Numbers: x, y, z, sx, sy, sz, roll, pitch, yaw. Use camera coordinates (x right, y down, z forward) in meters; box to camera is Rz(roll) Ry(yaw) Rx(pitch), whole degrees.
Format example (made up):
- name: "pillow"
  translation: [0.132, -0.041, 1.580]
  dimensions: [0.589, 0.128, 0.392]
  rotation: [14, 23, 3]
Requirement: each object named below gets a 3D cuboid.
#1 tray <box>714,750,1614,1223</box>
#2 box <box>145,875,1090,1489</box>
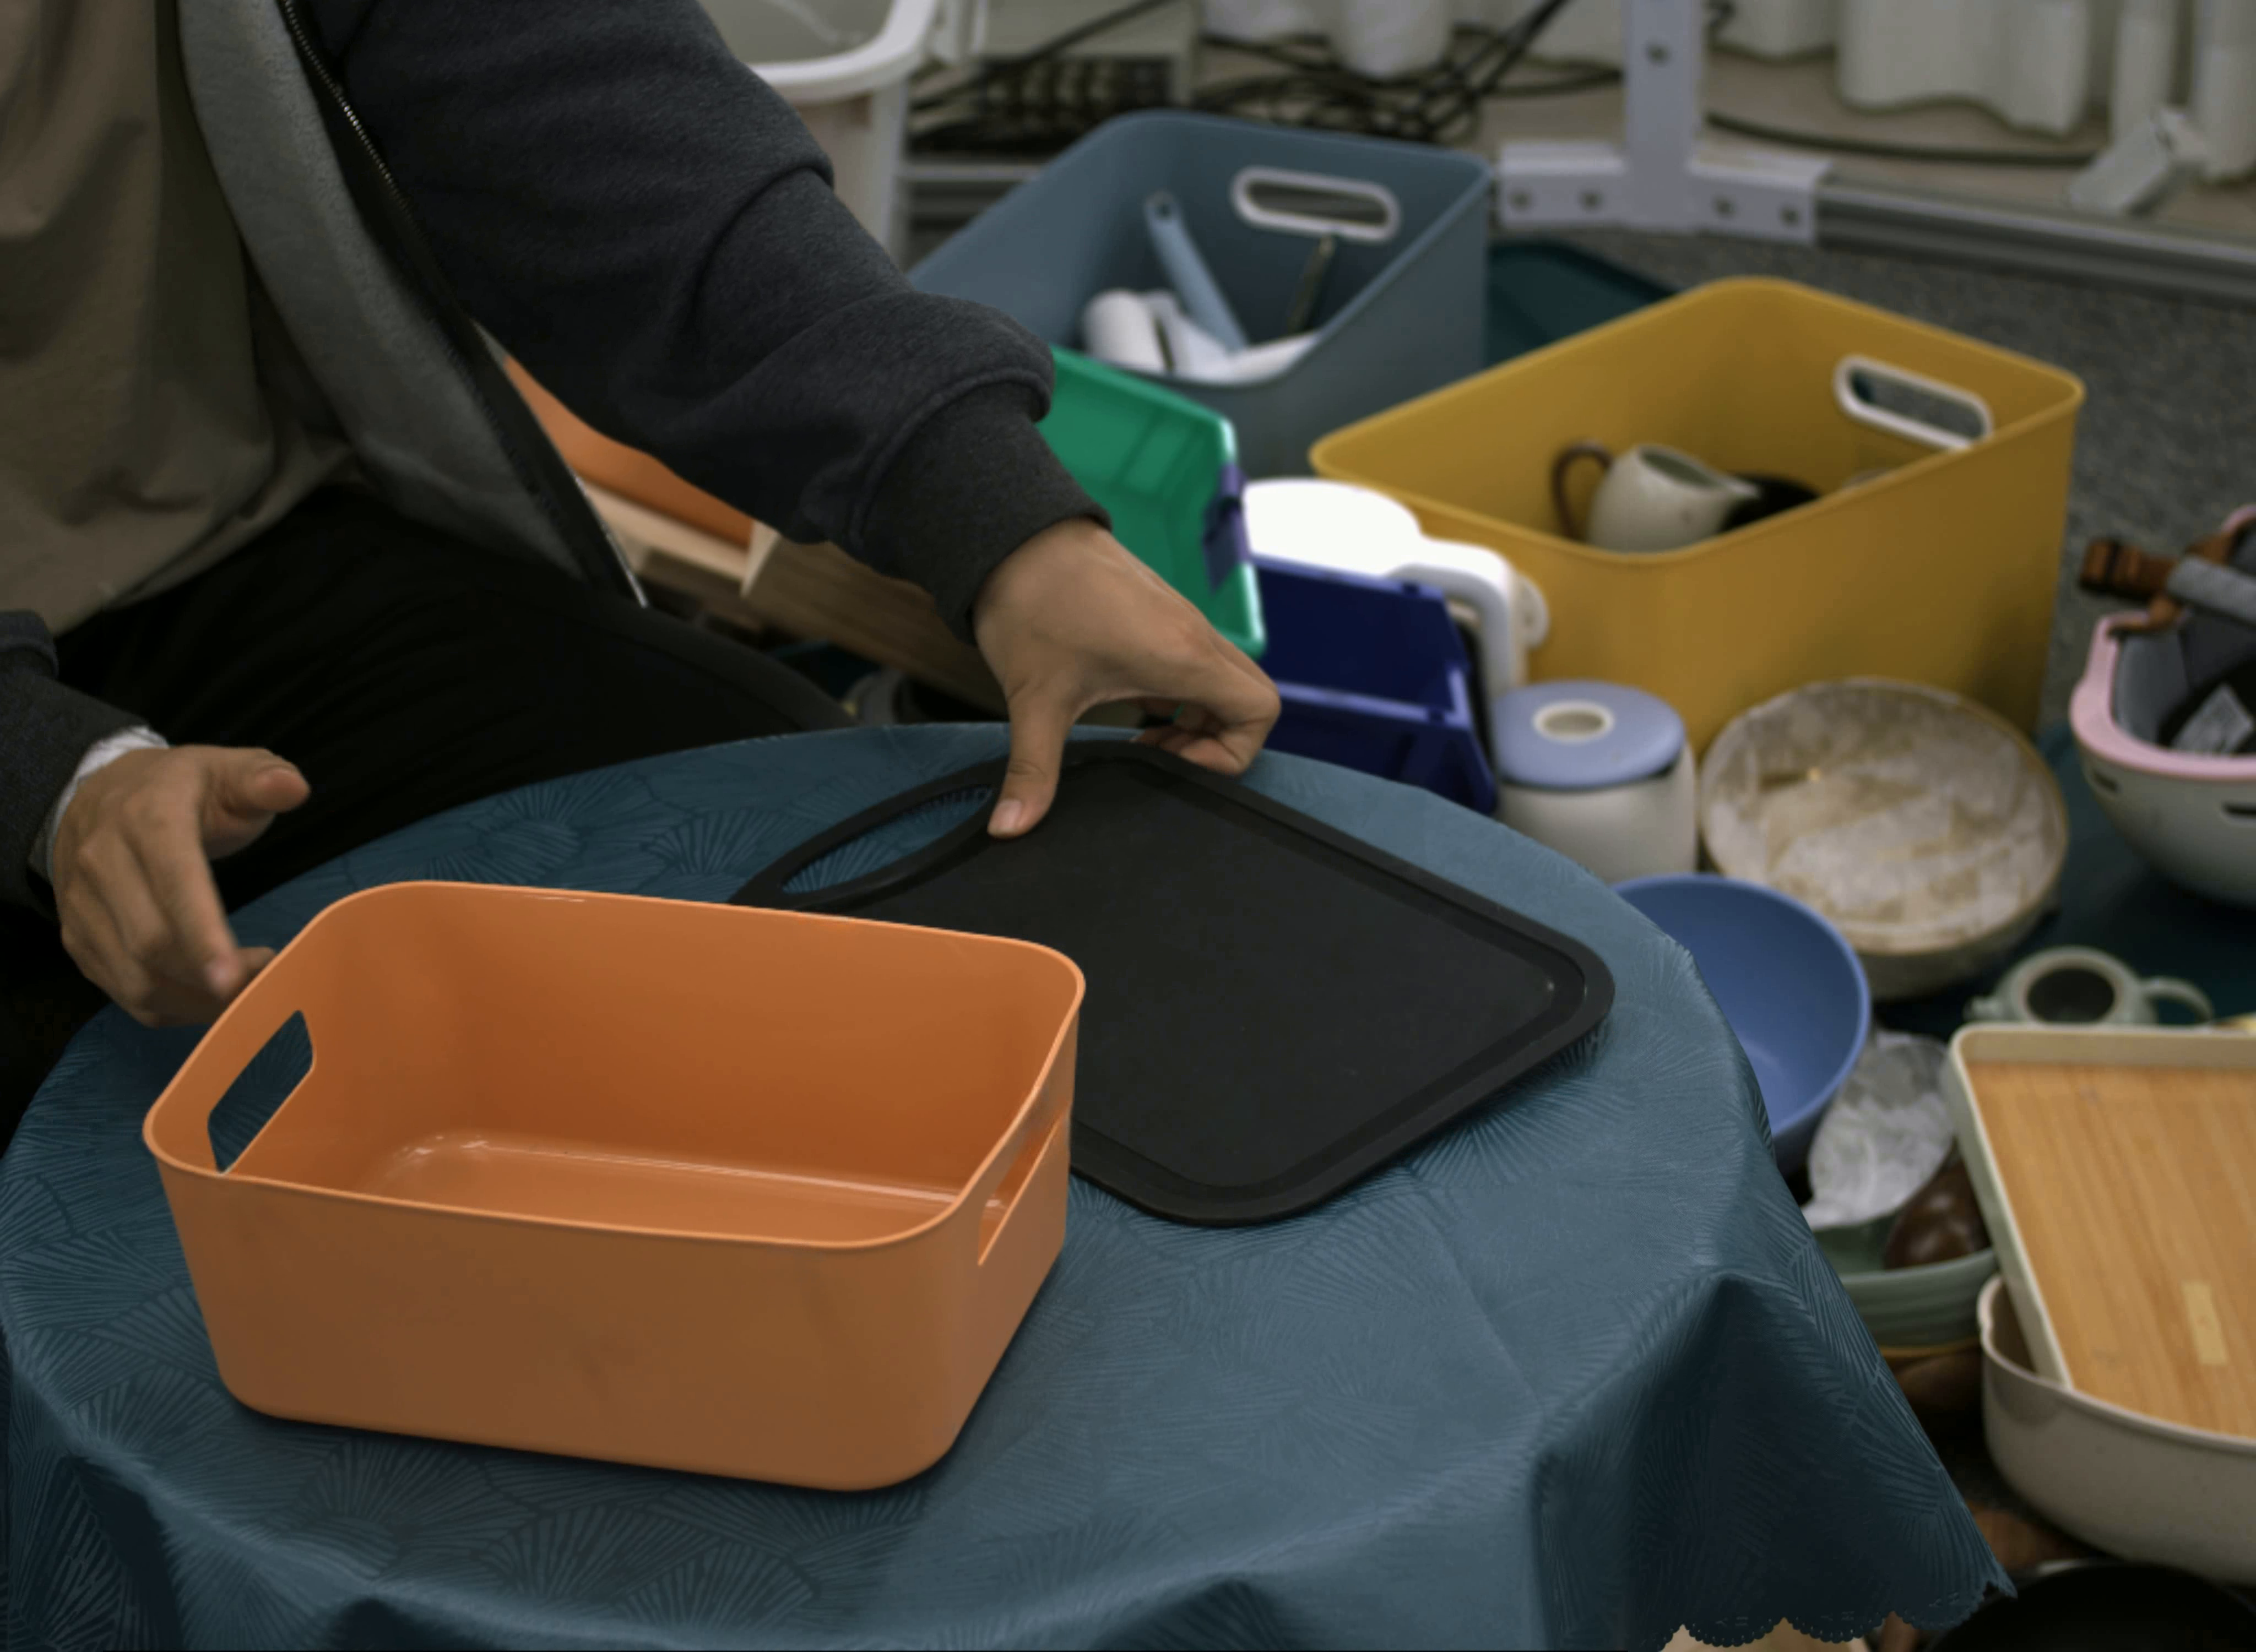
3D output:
- name: "tray"
  translation: [0.001, 0.048, 1.988]
  dimensions: [0.213, 0.009, 0.325]
  rotation: [-28, 36, -34]
- name: "box"
  translation: [-0.155, 0.113, 1.783]
  dimensions: [0.271, 0.101, 0.203]
  rotation: [5, 29, 15]
